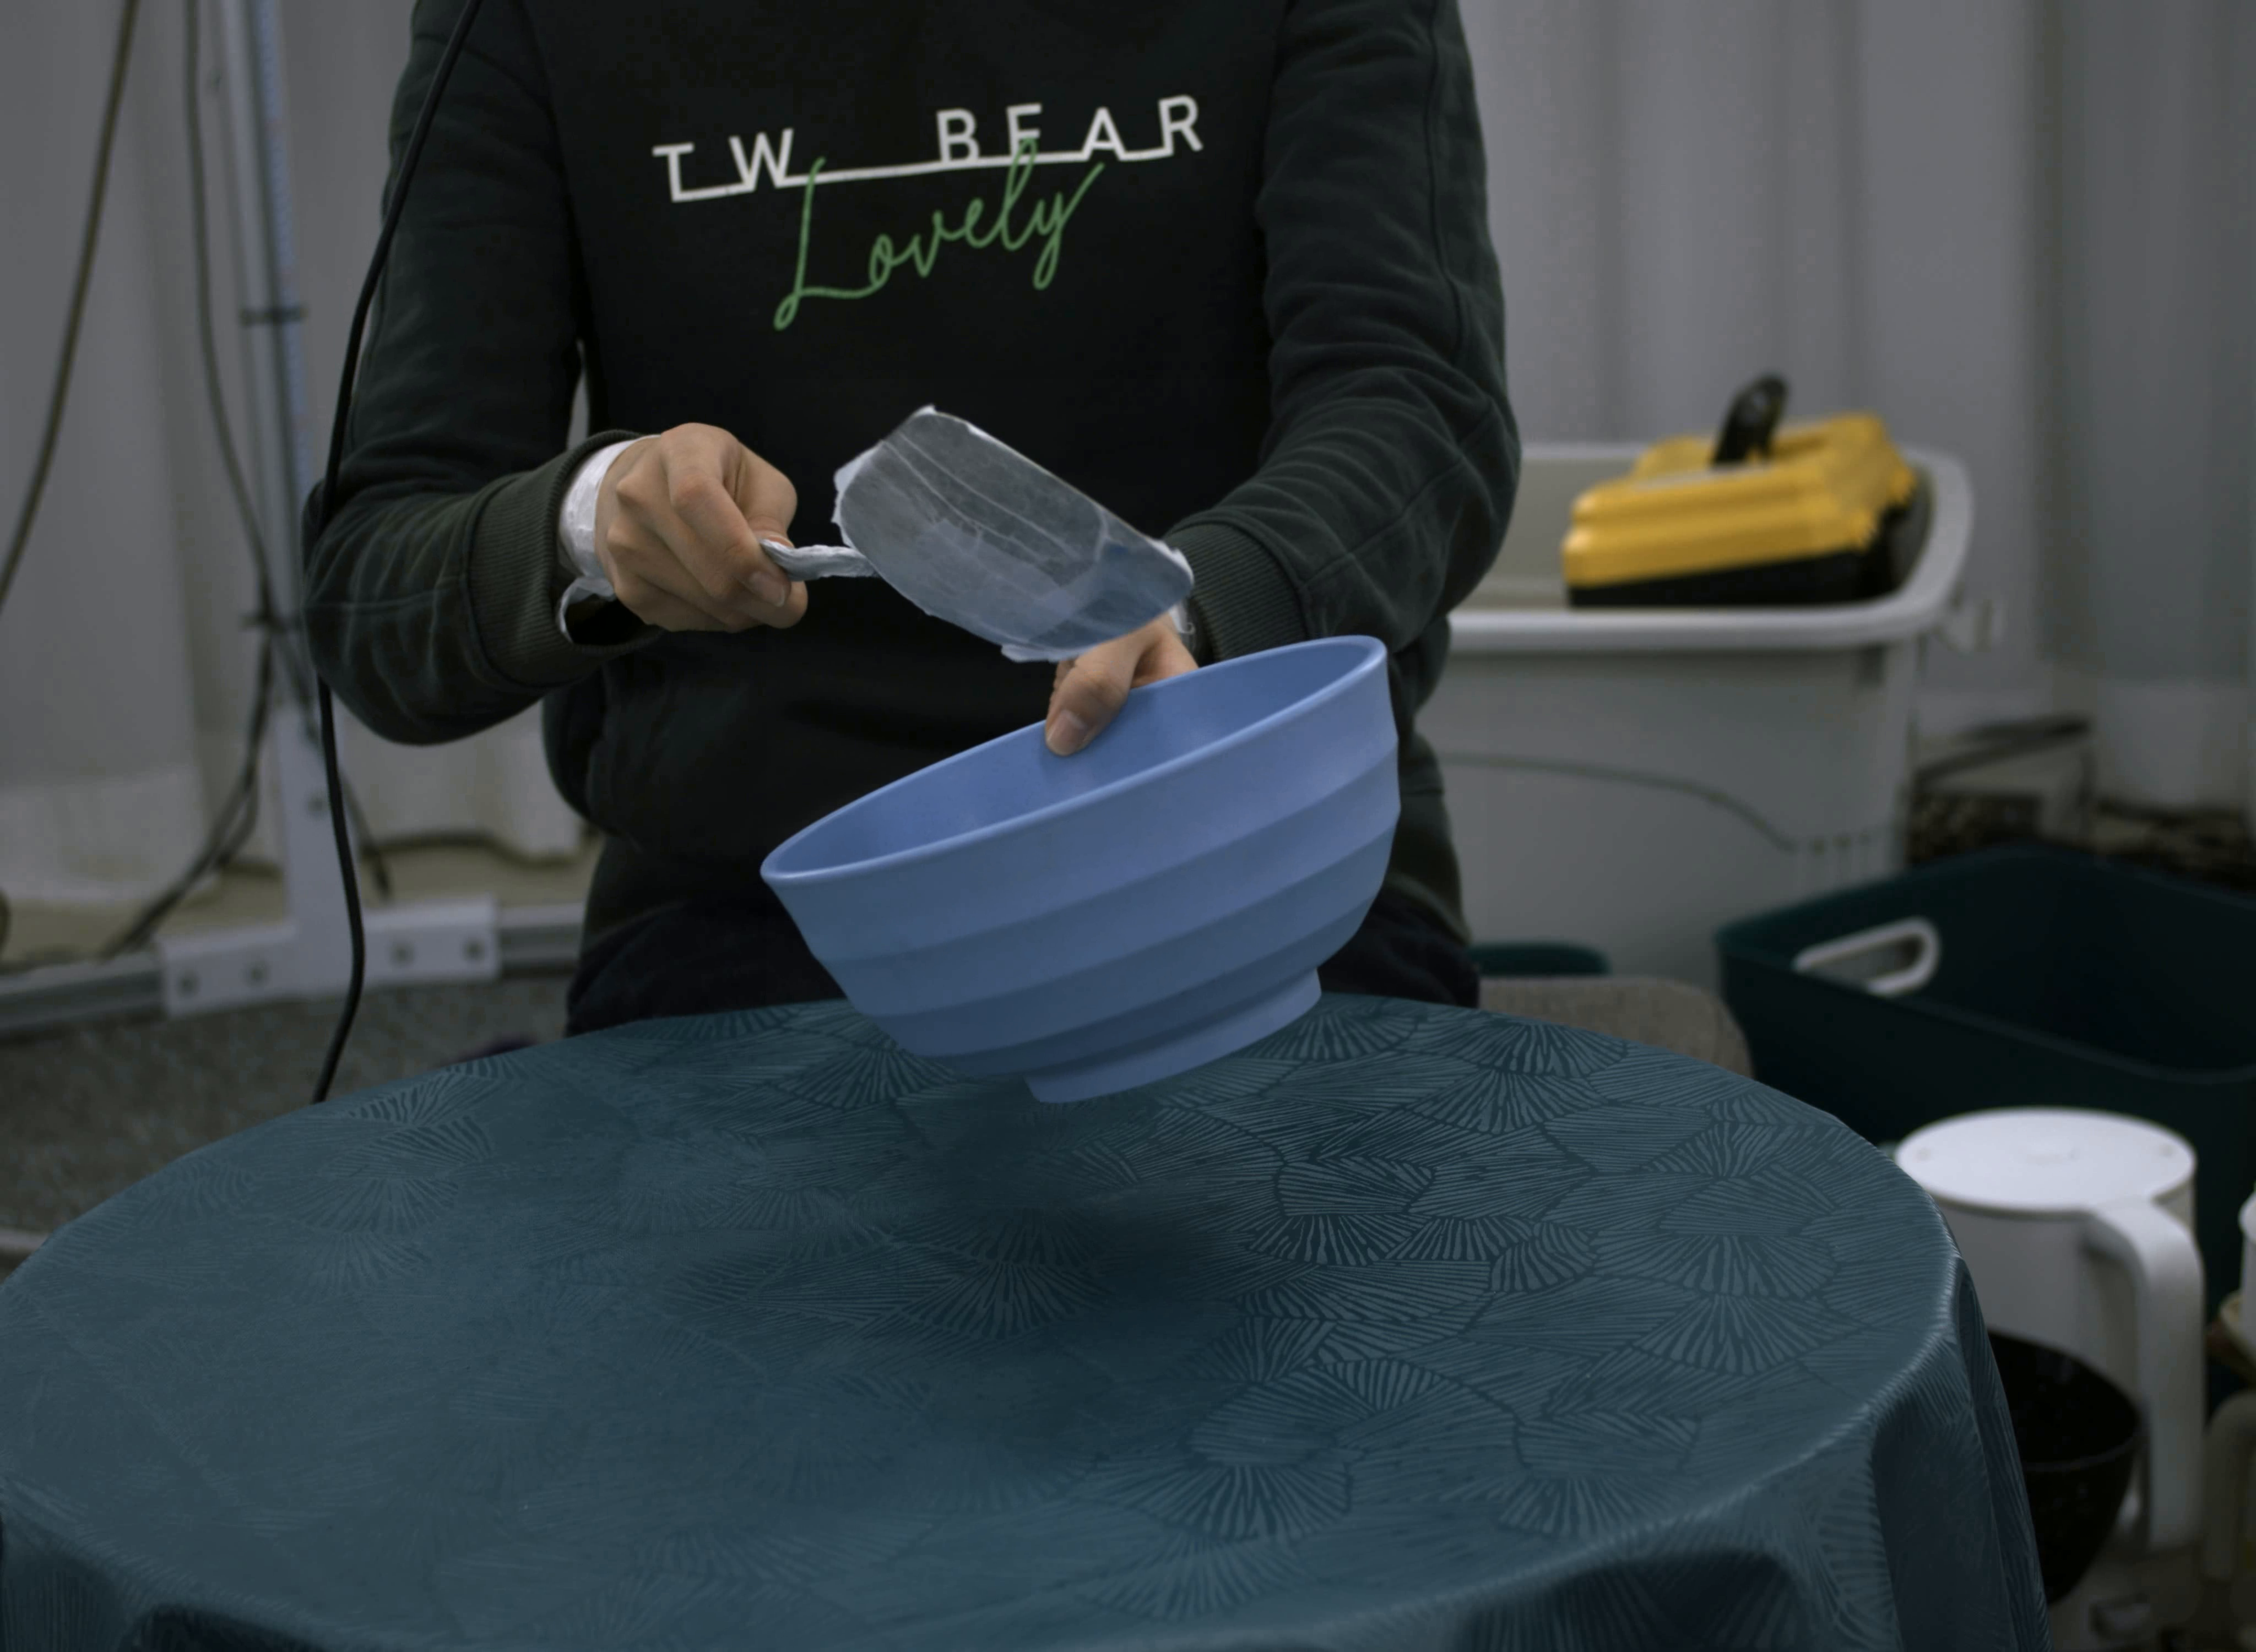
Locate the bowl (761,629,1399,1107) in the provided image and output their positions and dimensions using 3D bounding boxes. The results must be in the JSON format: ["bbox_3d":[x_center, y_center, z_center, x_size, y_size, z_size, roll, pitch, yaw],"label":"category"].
[{"bbox_3d":[-0.001,0.022,1.620,0.196,0.095,0.197,-21,8,3],"label":"bowl"}]

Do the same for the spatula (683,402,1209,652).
[{"bbox_3d":[-0.080,-0.082,1.697,0.098,0.045,0.366,32,-9,-18],"label":"spatula"}]
